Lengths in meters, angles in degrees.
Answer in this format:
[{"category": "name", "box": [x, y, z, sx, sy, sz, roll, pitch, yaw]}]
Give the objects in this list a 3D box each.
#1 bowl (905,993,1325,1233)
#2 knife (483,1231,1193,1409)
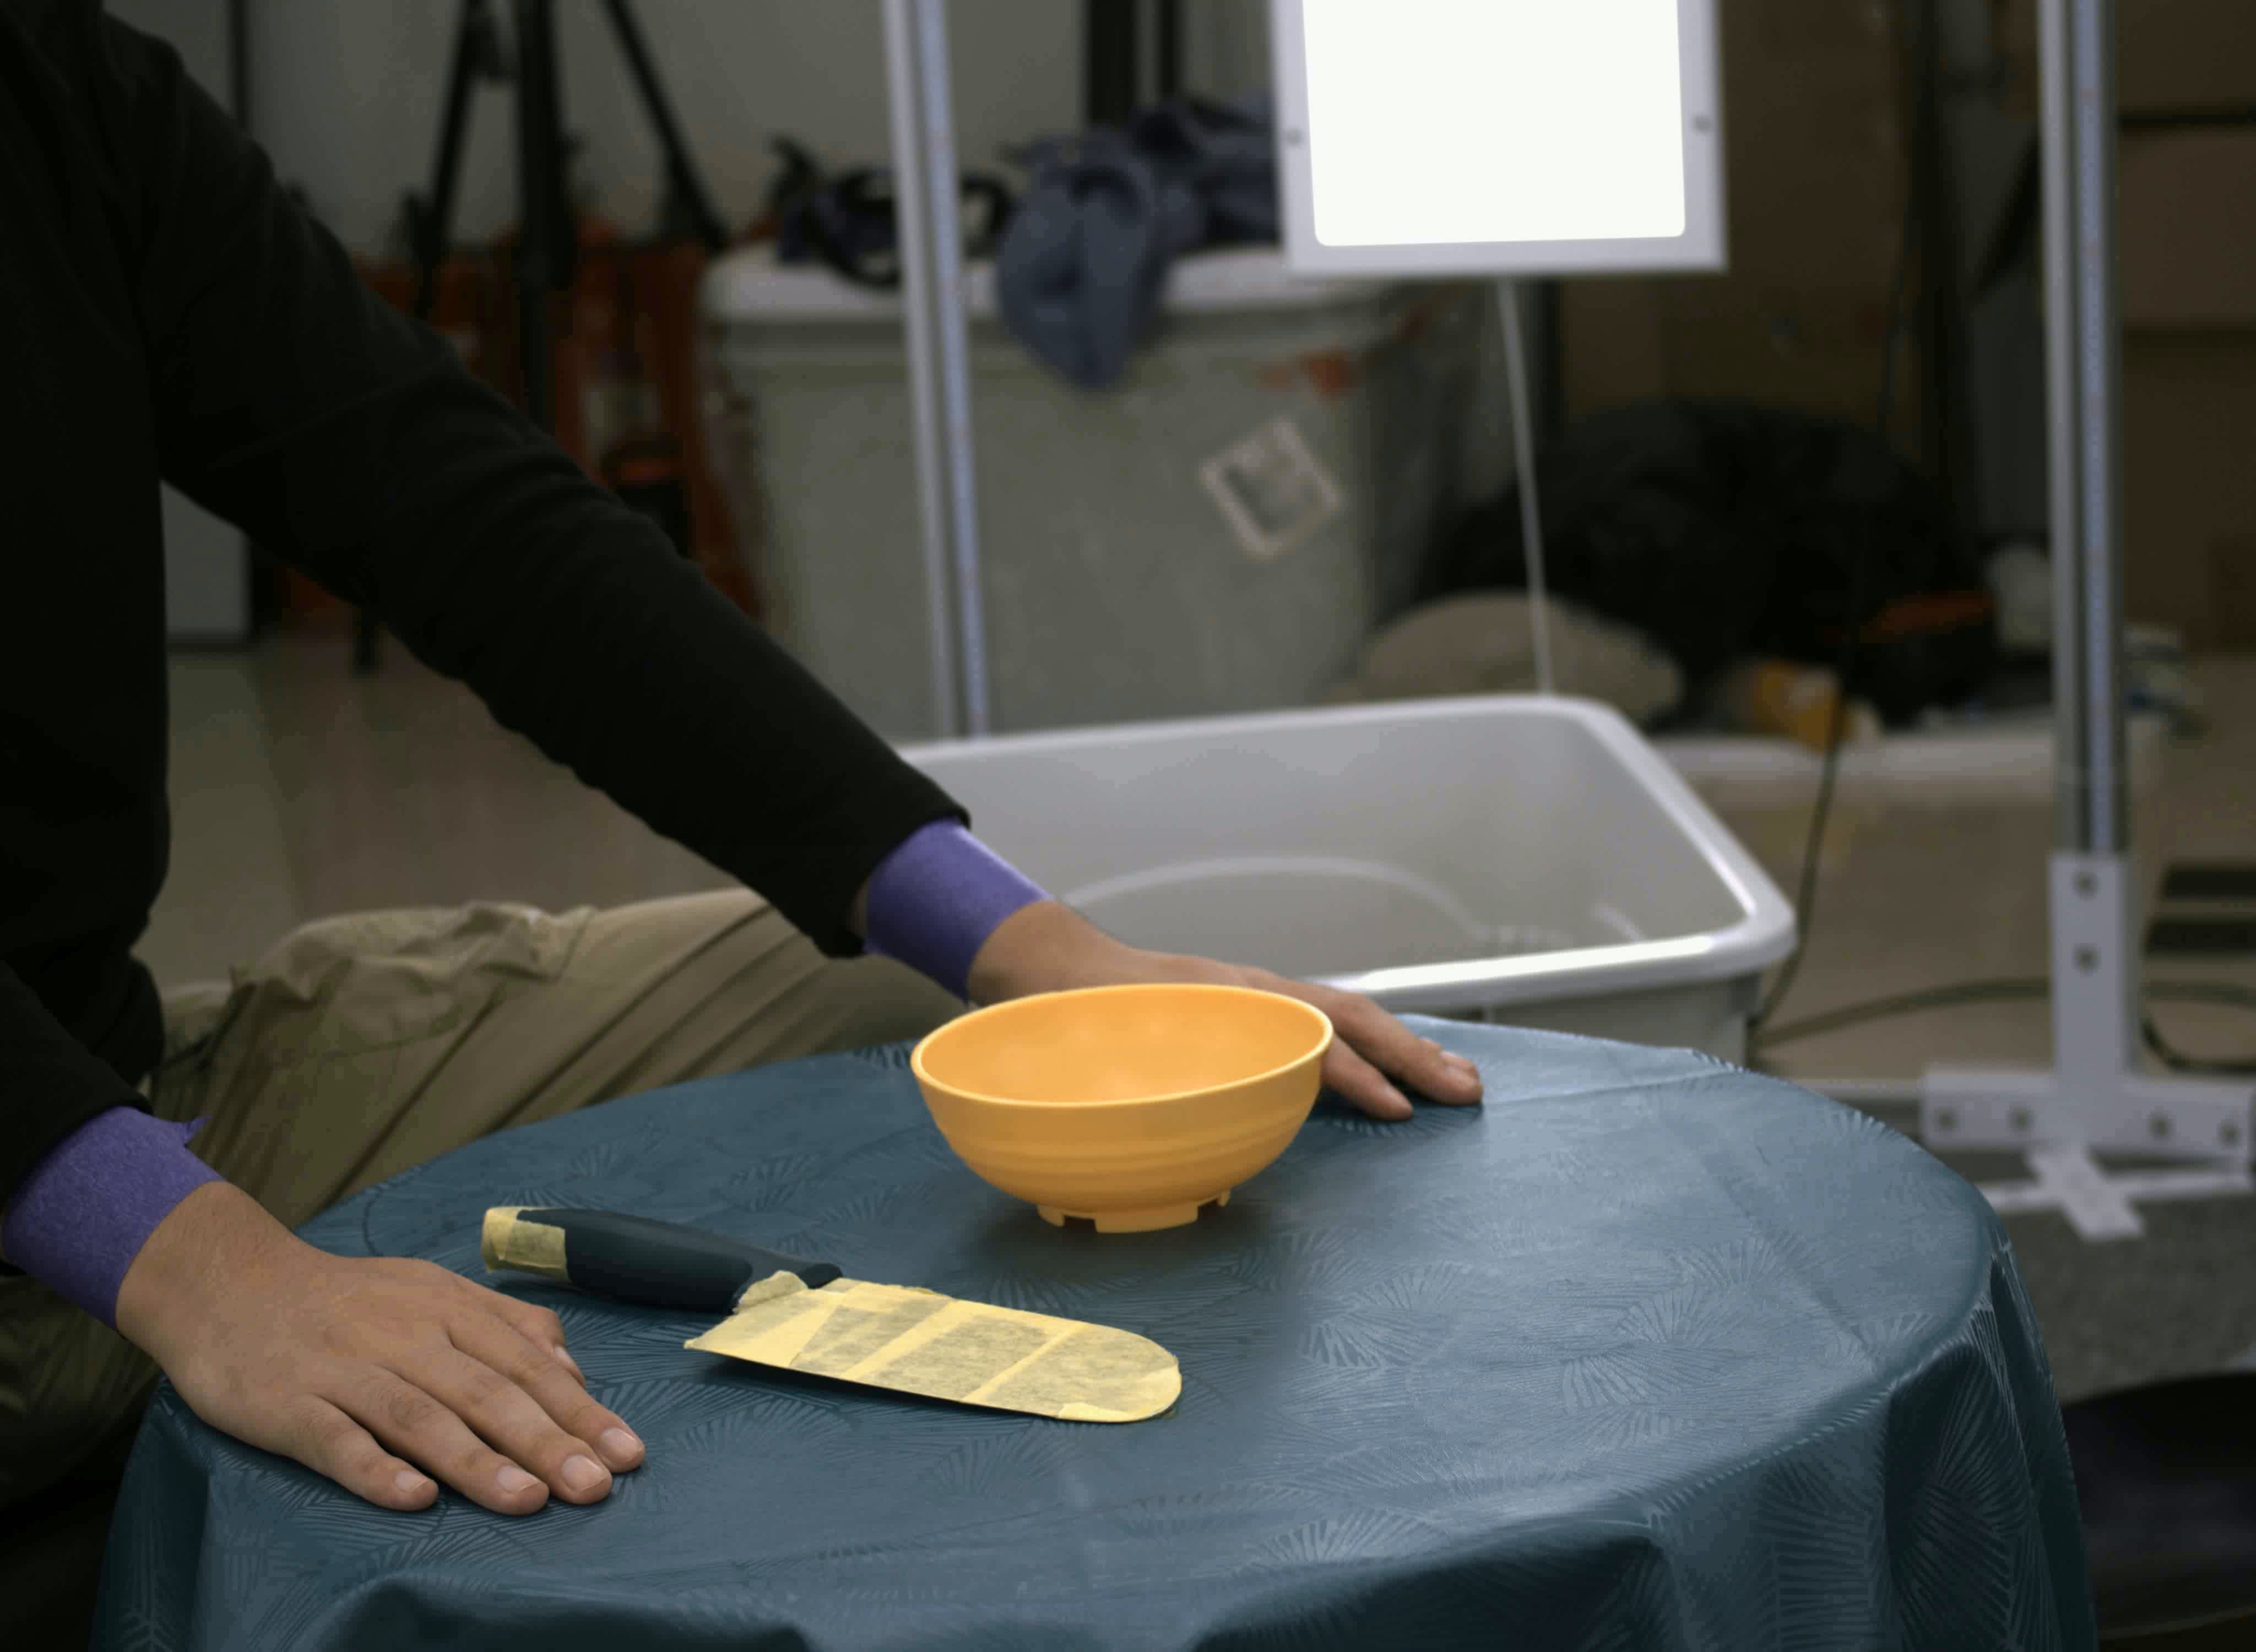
[{"category": "bowl", "box": [-0.003, 0.102, 1.879, 0.145, 0.060, 0.145, -3, 12, -1]}, {"category": "knife", "box": [-0.101, 0.160, 1.771, 0.295, 0.027, 0.079, 6, 16, 35]}]
